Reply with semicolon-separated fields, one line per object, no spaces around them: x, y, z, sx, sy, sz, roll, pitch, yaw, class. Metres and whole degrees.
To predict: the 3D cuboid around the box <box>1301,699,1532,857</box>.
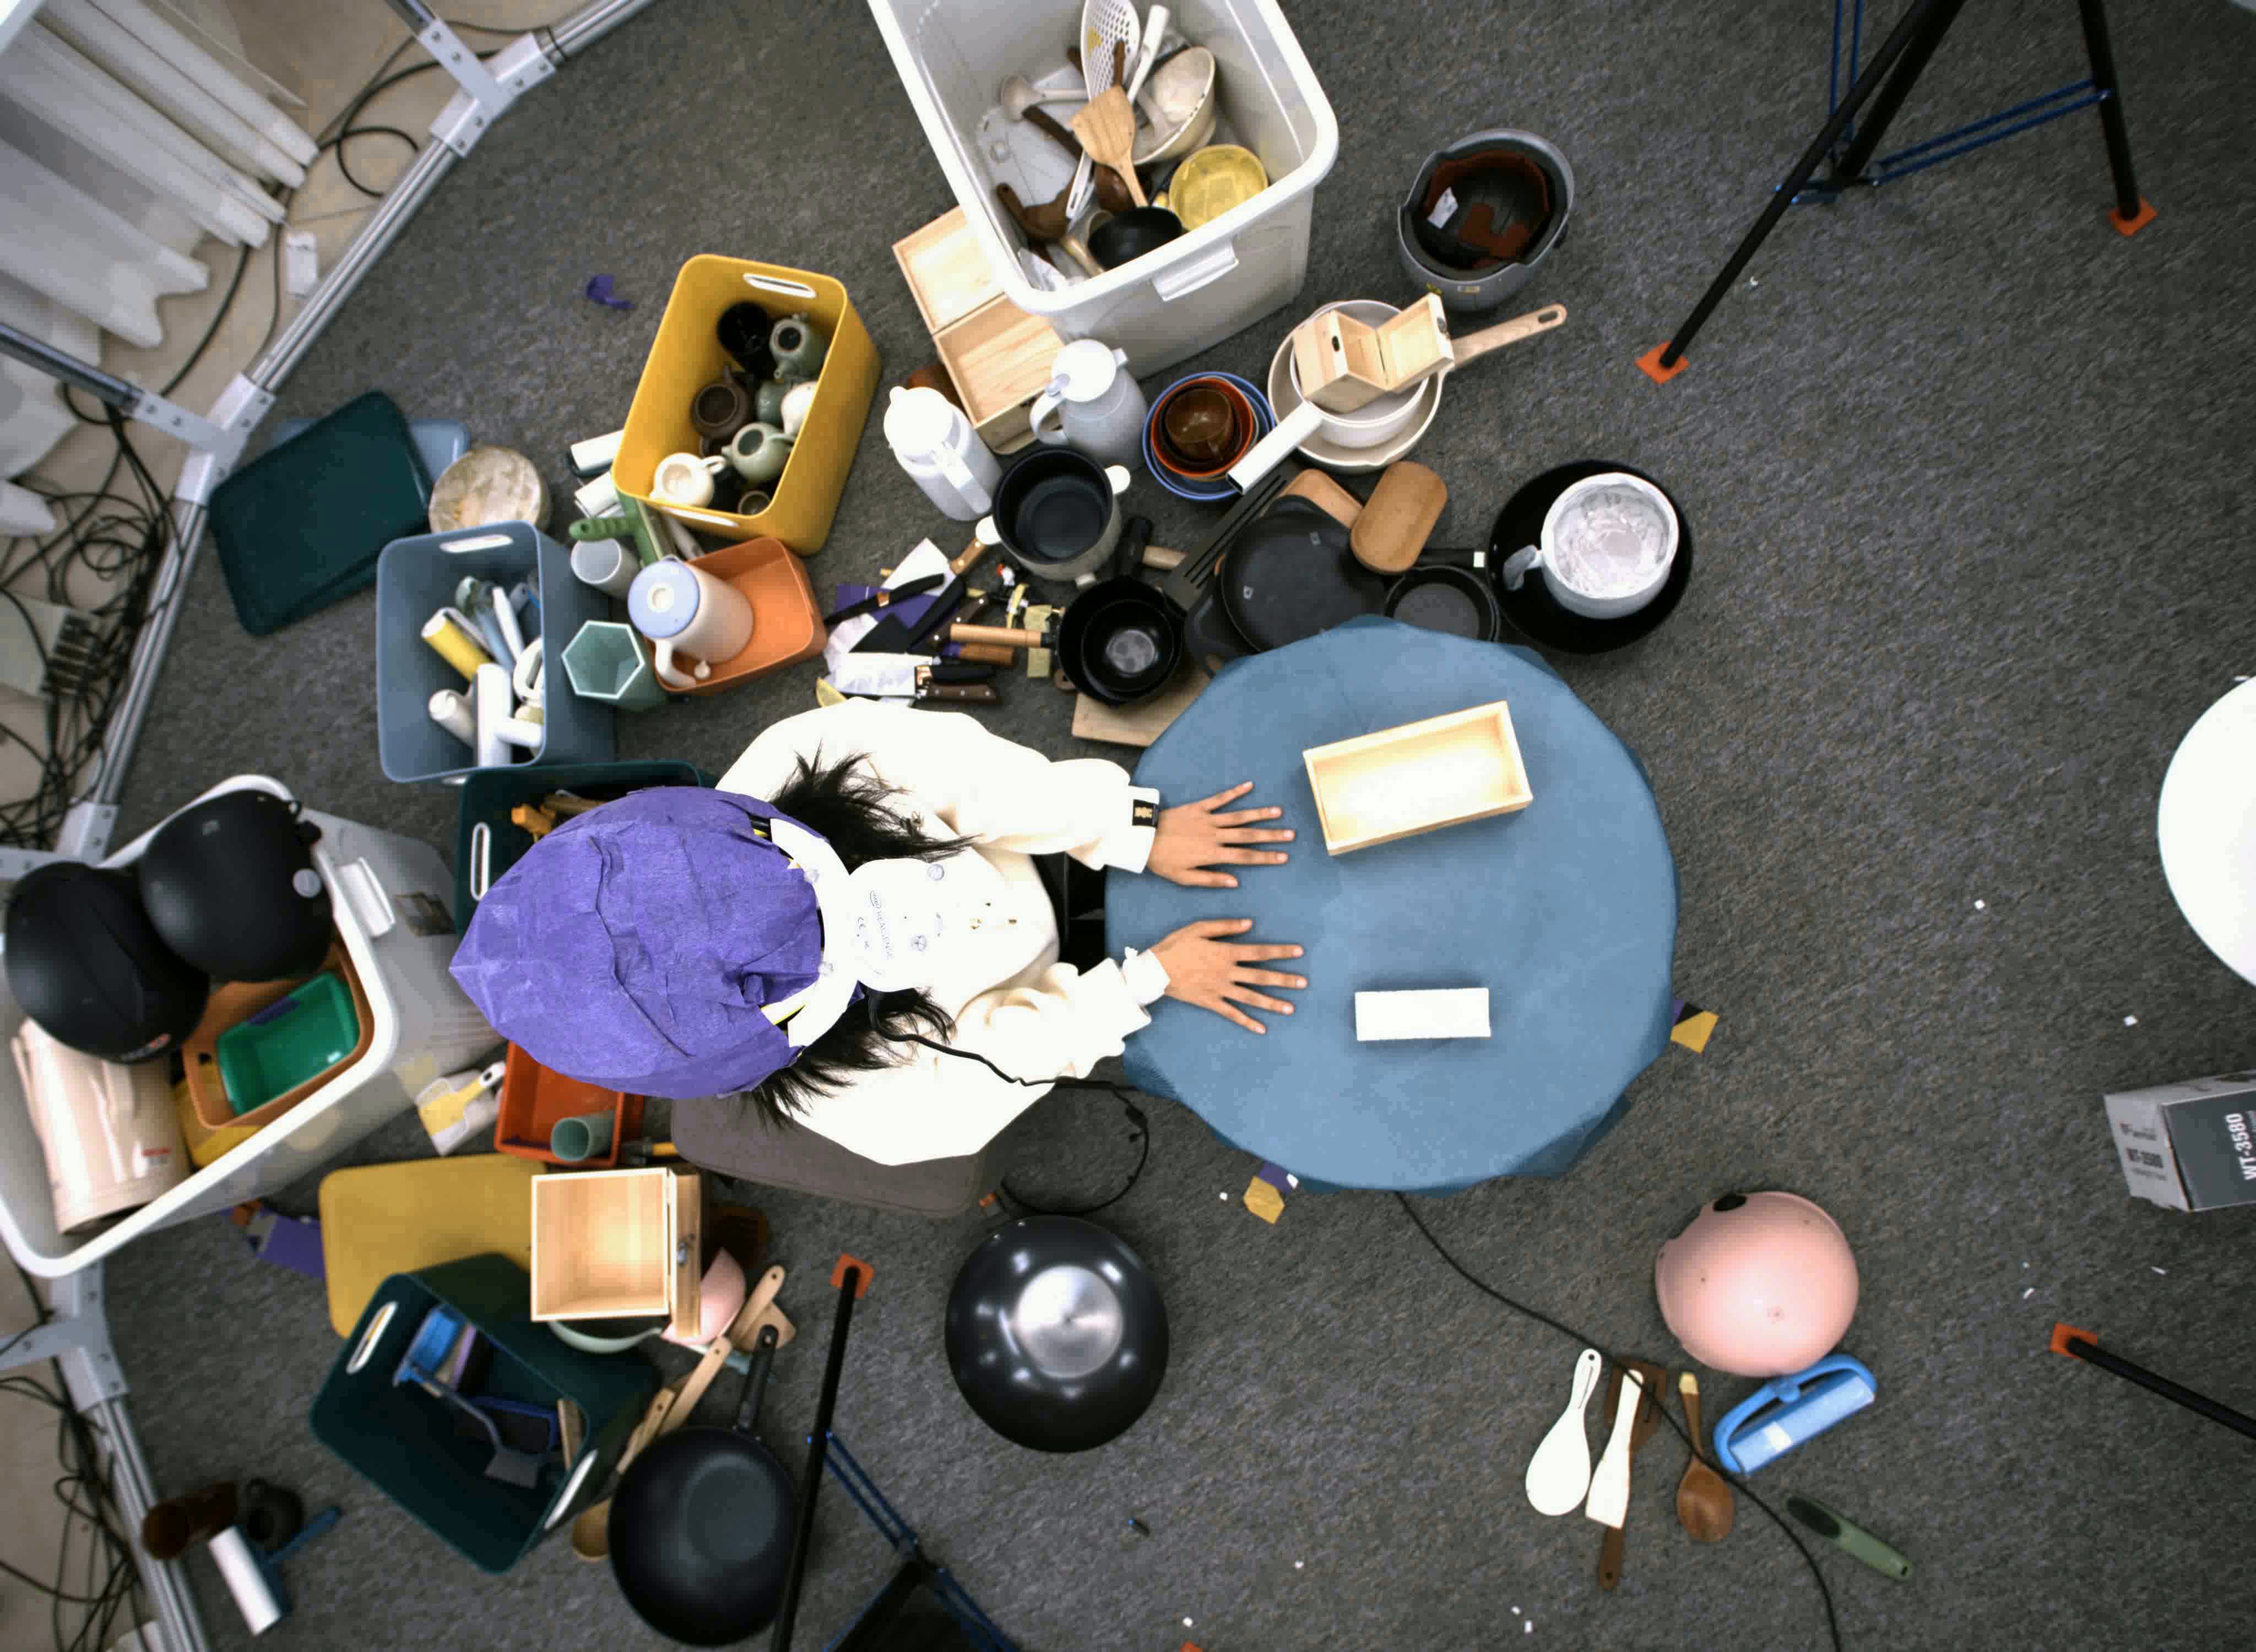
0.295;-0.049;1.422;0.212;0.080;0.107;-15;83;9;box

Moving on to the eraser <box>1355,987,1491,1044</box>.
0.303;0.193;1.423;0.135;0.046;0.049;-5;86;9;eraser
